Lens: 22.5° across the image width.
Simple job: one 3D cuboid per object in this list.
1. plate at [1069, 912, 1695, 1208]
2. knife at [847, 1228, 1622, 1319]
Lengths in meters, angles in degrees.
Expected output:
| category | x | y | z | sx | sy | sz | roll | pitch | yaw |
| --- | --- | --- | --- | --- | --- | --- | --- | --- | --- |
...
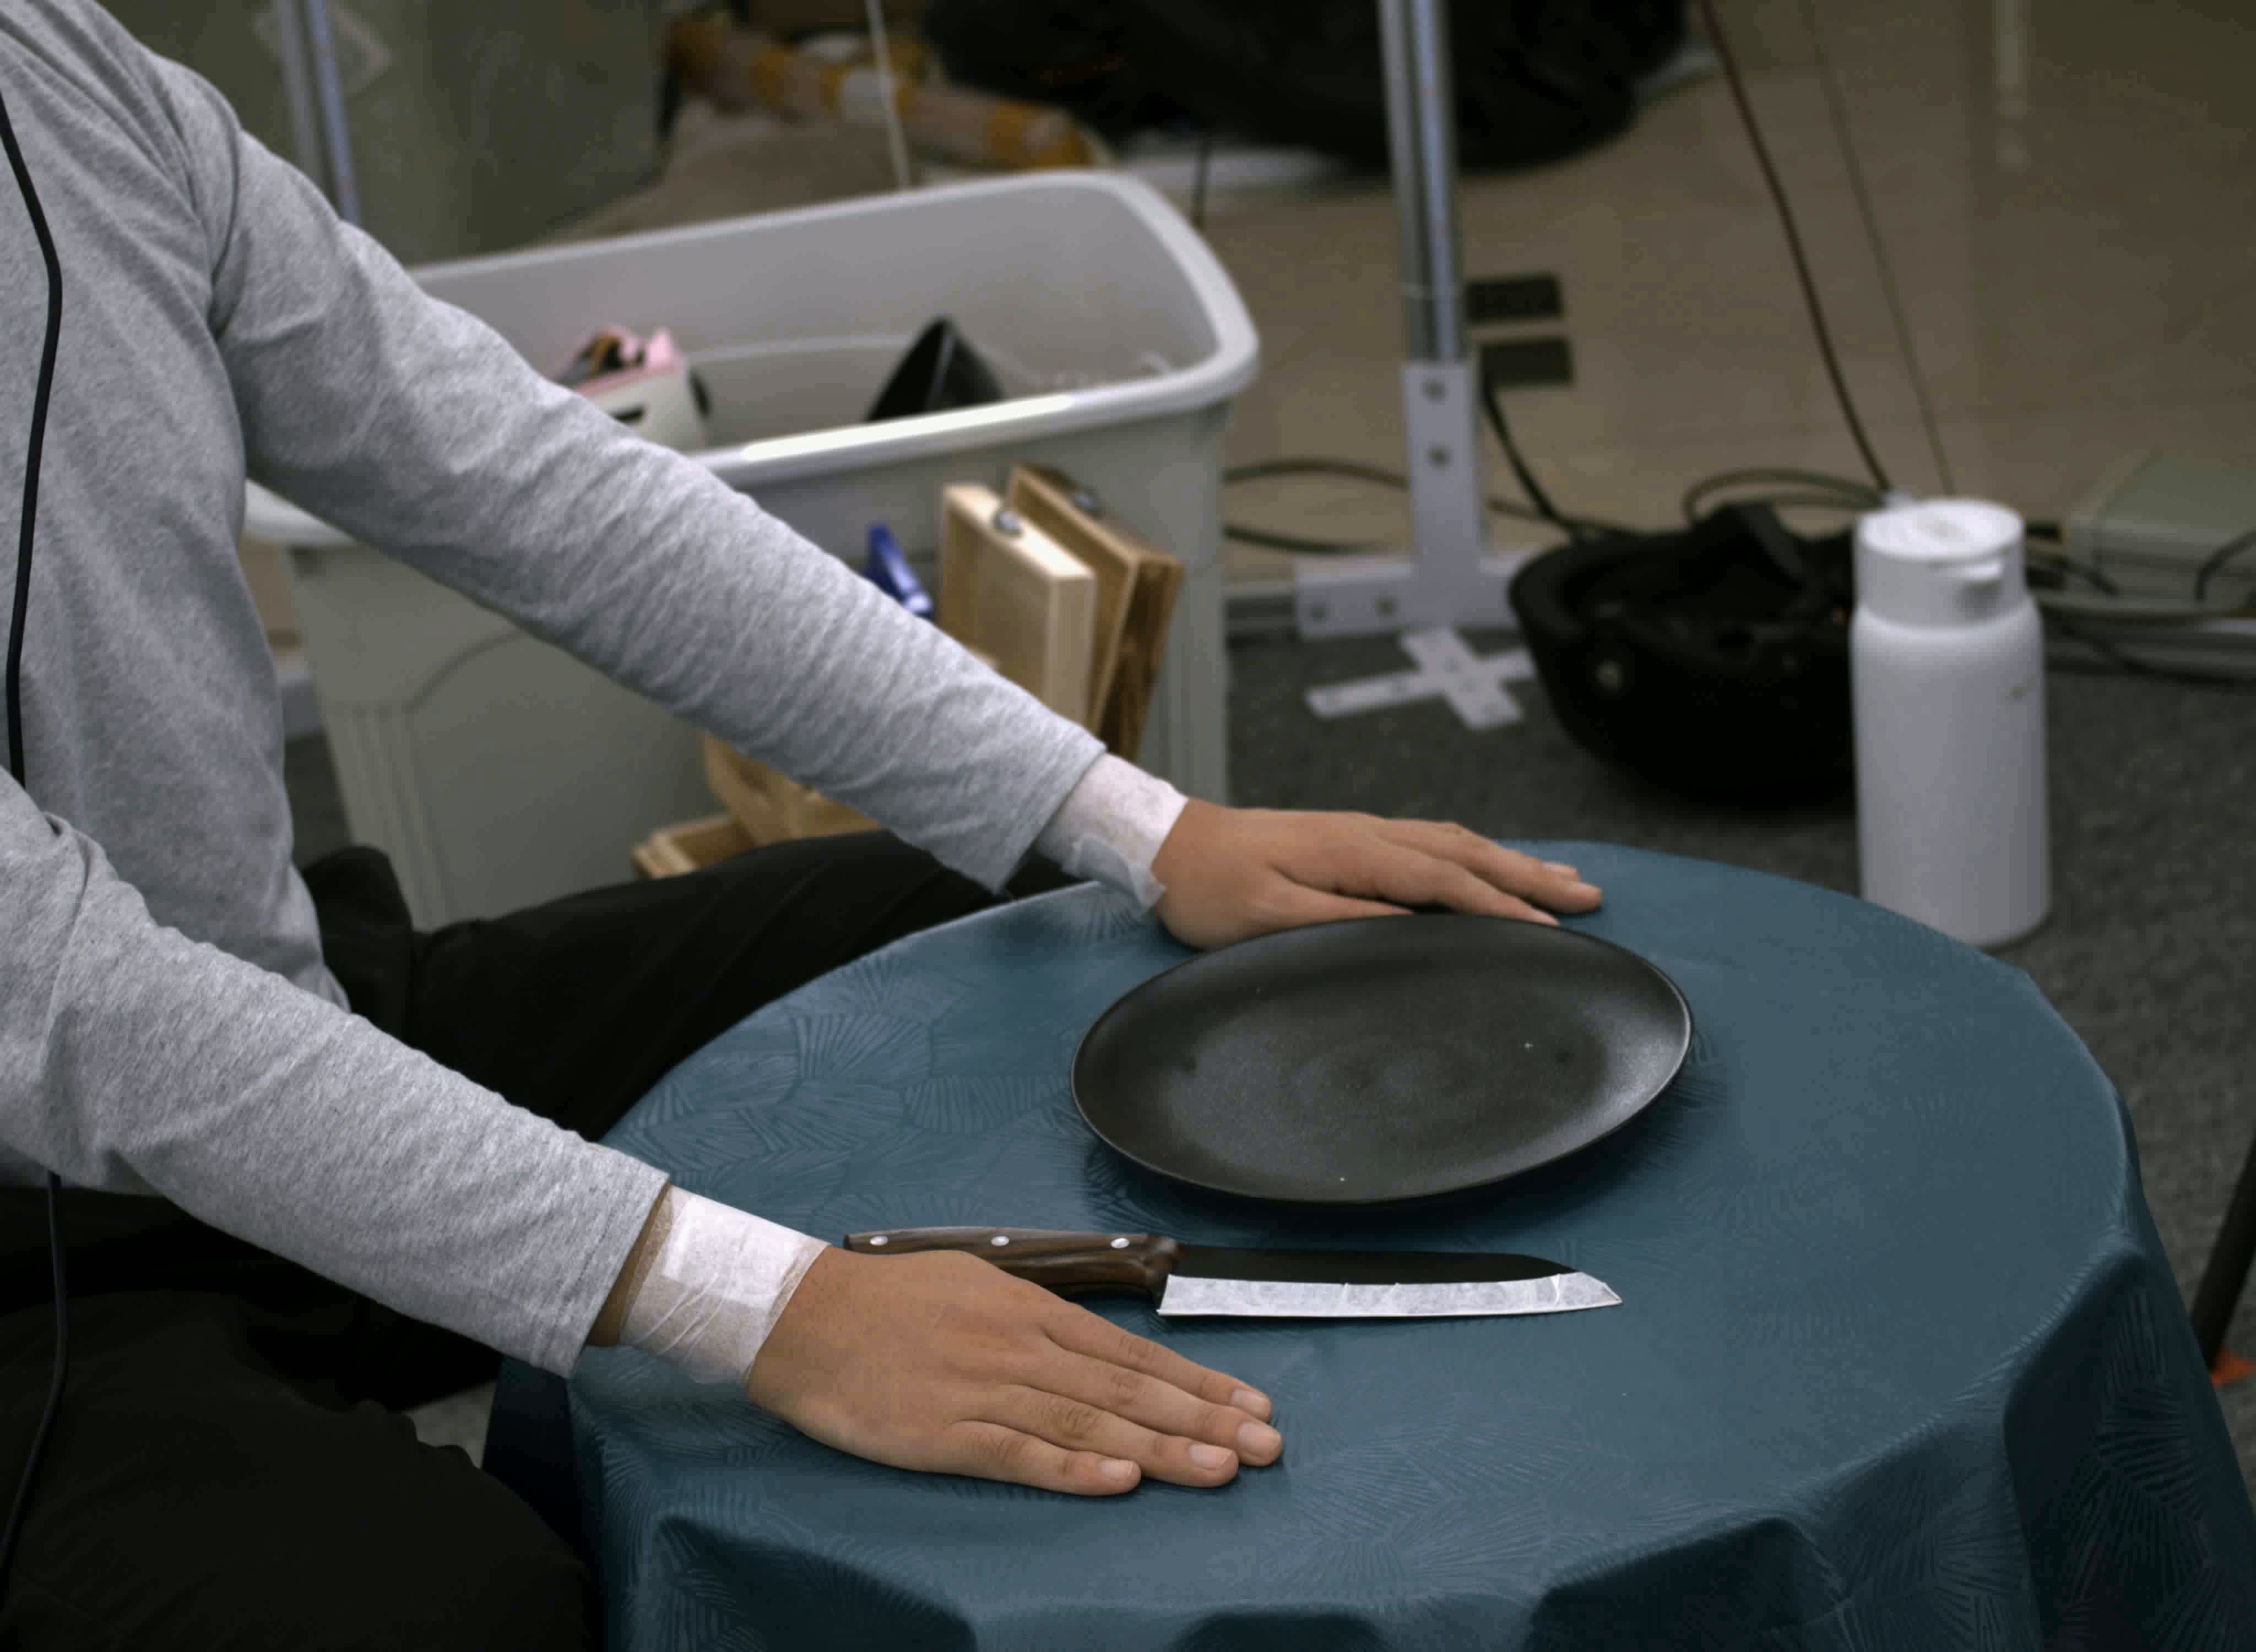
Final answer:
| category | x | y | z | sx | sy | sz | roll | pitch | yaw |
| --- | --- | --- | --- | --- | --- | --- | --- | --- | --- |
| plate | 0.098 | 0.095 | 2.195 | 0.244 | 0.024 | 0.241 | -6 | 25 | 3 |
| knife | 0.036 | 0.165 | 2.069 | 0.288 | 0.020 | 0.049 | 1 | 31 | 11 |
